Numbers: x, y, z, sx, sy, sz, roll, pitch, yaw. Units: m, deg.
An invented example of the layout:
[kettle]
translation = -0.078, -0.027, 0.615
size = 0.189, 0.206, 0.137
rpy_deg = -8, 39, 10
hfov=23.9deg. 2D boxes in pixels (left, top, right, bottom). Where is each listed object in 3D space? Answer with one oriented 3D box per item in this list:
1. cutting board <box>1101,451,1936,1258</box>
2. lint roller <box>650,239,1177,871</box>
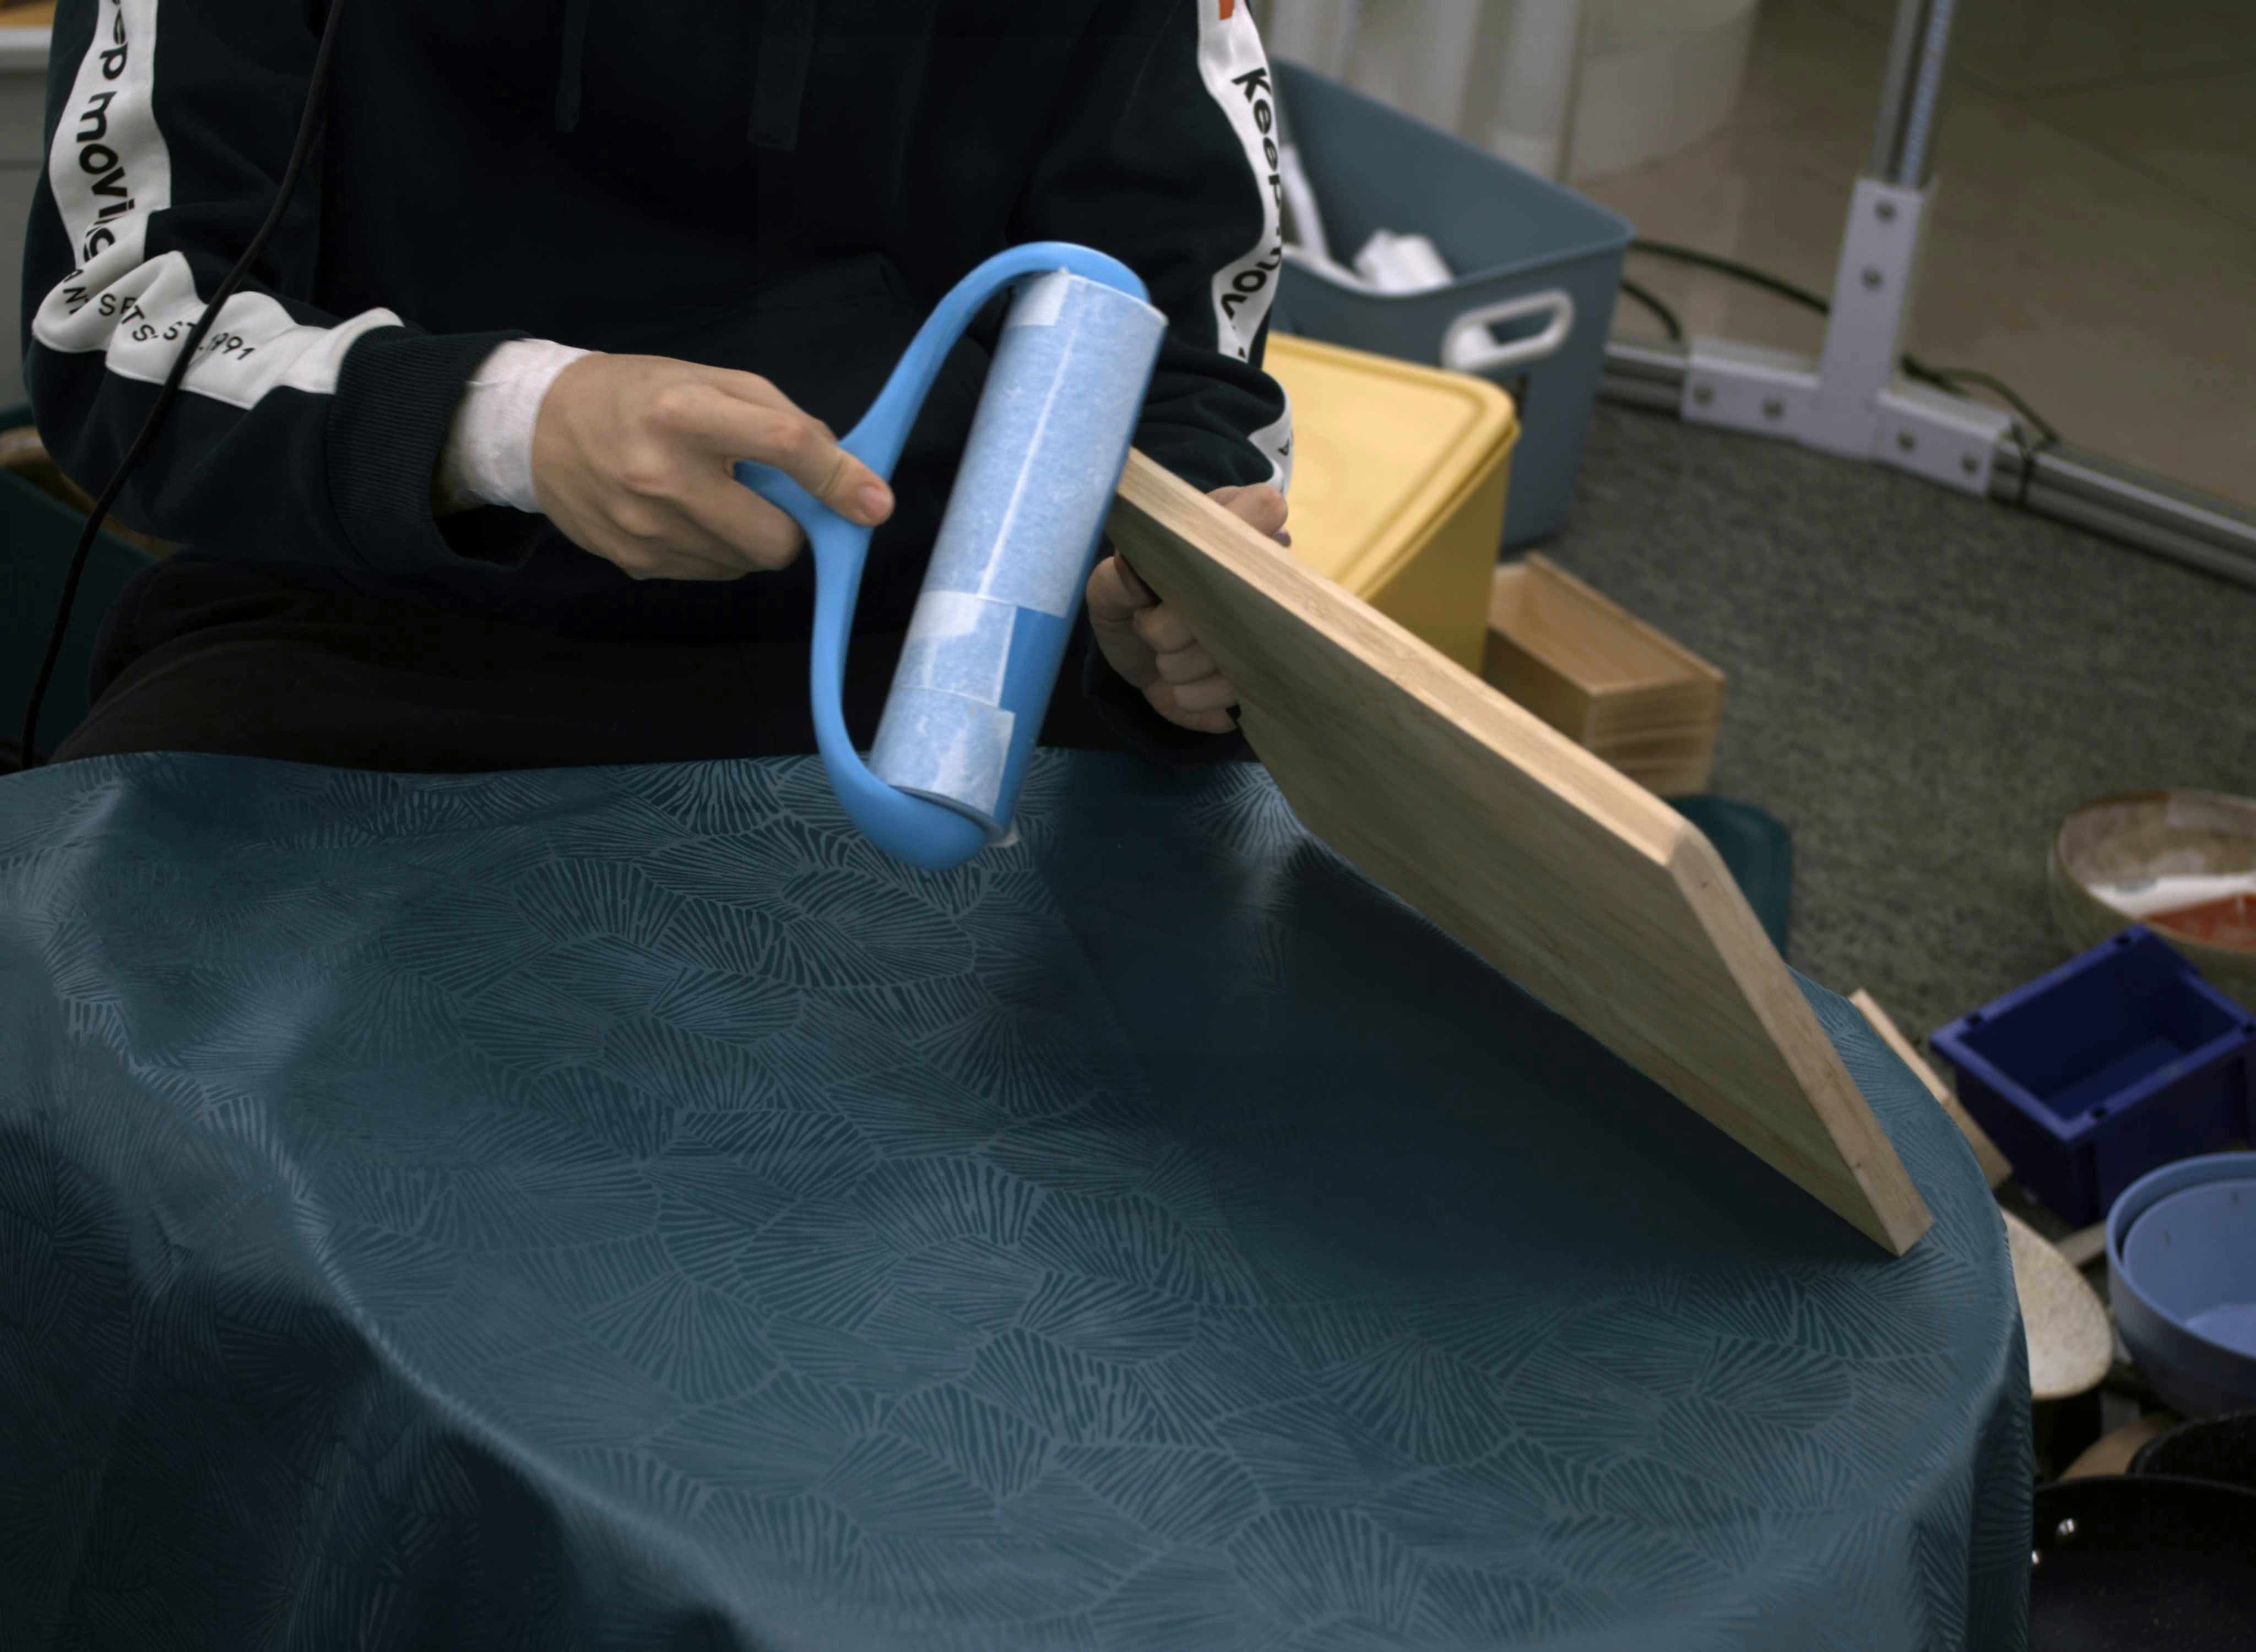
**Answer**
[cutting board]
translation = 0.120, 0.000, 1.850
size = 0.023, 0.248, 0.352
rpy_deg = -45, 46, -9
[lint roller]
translation = -0.091, -0.103, 1.843
size = 0.180, 0.230, 0.067
rpy_deg = 10, -16, 17
